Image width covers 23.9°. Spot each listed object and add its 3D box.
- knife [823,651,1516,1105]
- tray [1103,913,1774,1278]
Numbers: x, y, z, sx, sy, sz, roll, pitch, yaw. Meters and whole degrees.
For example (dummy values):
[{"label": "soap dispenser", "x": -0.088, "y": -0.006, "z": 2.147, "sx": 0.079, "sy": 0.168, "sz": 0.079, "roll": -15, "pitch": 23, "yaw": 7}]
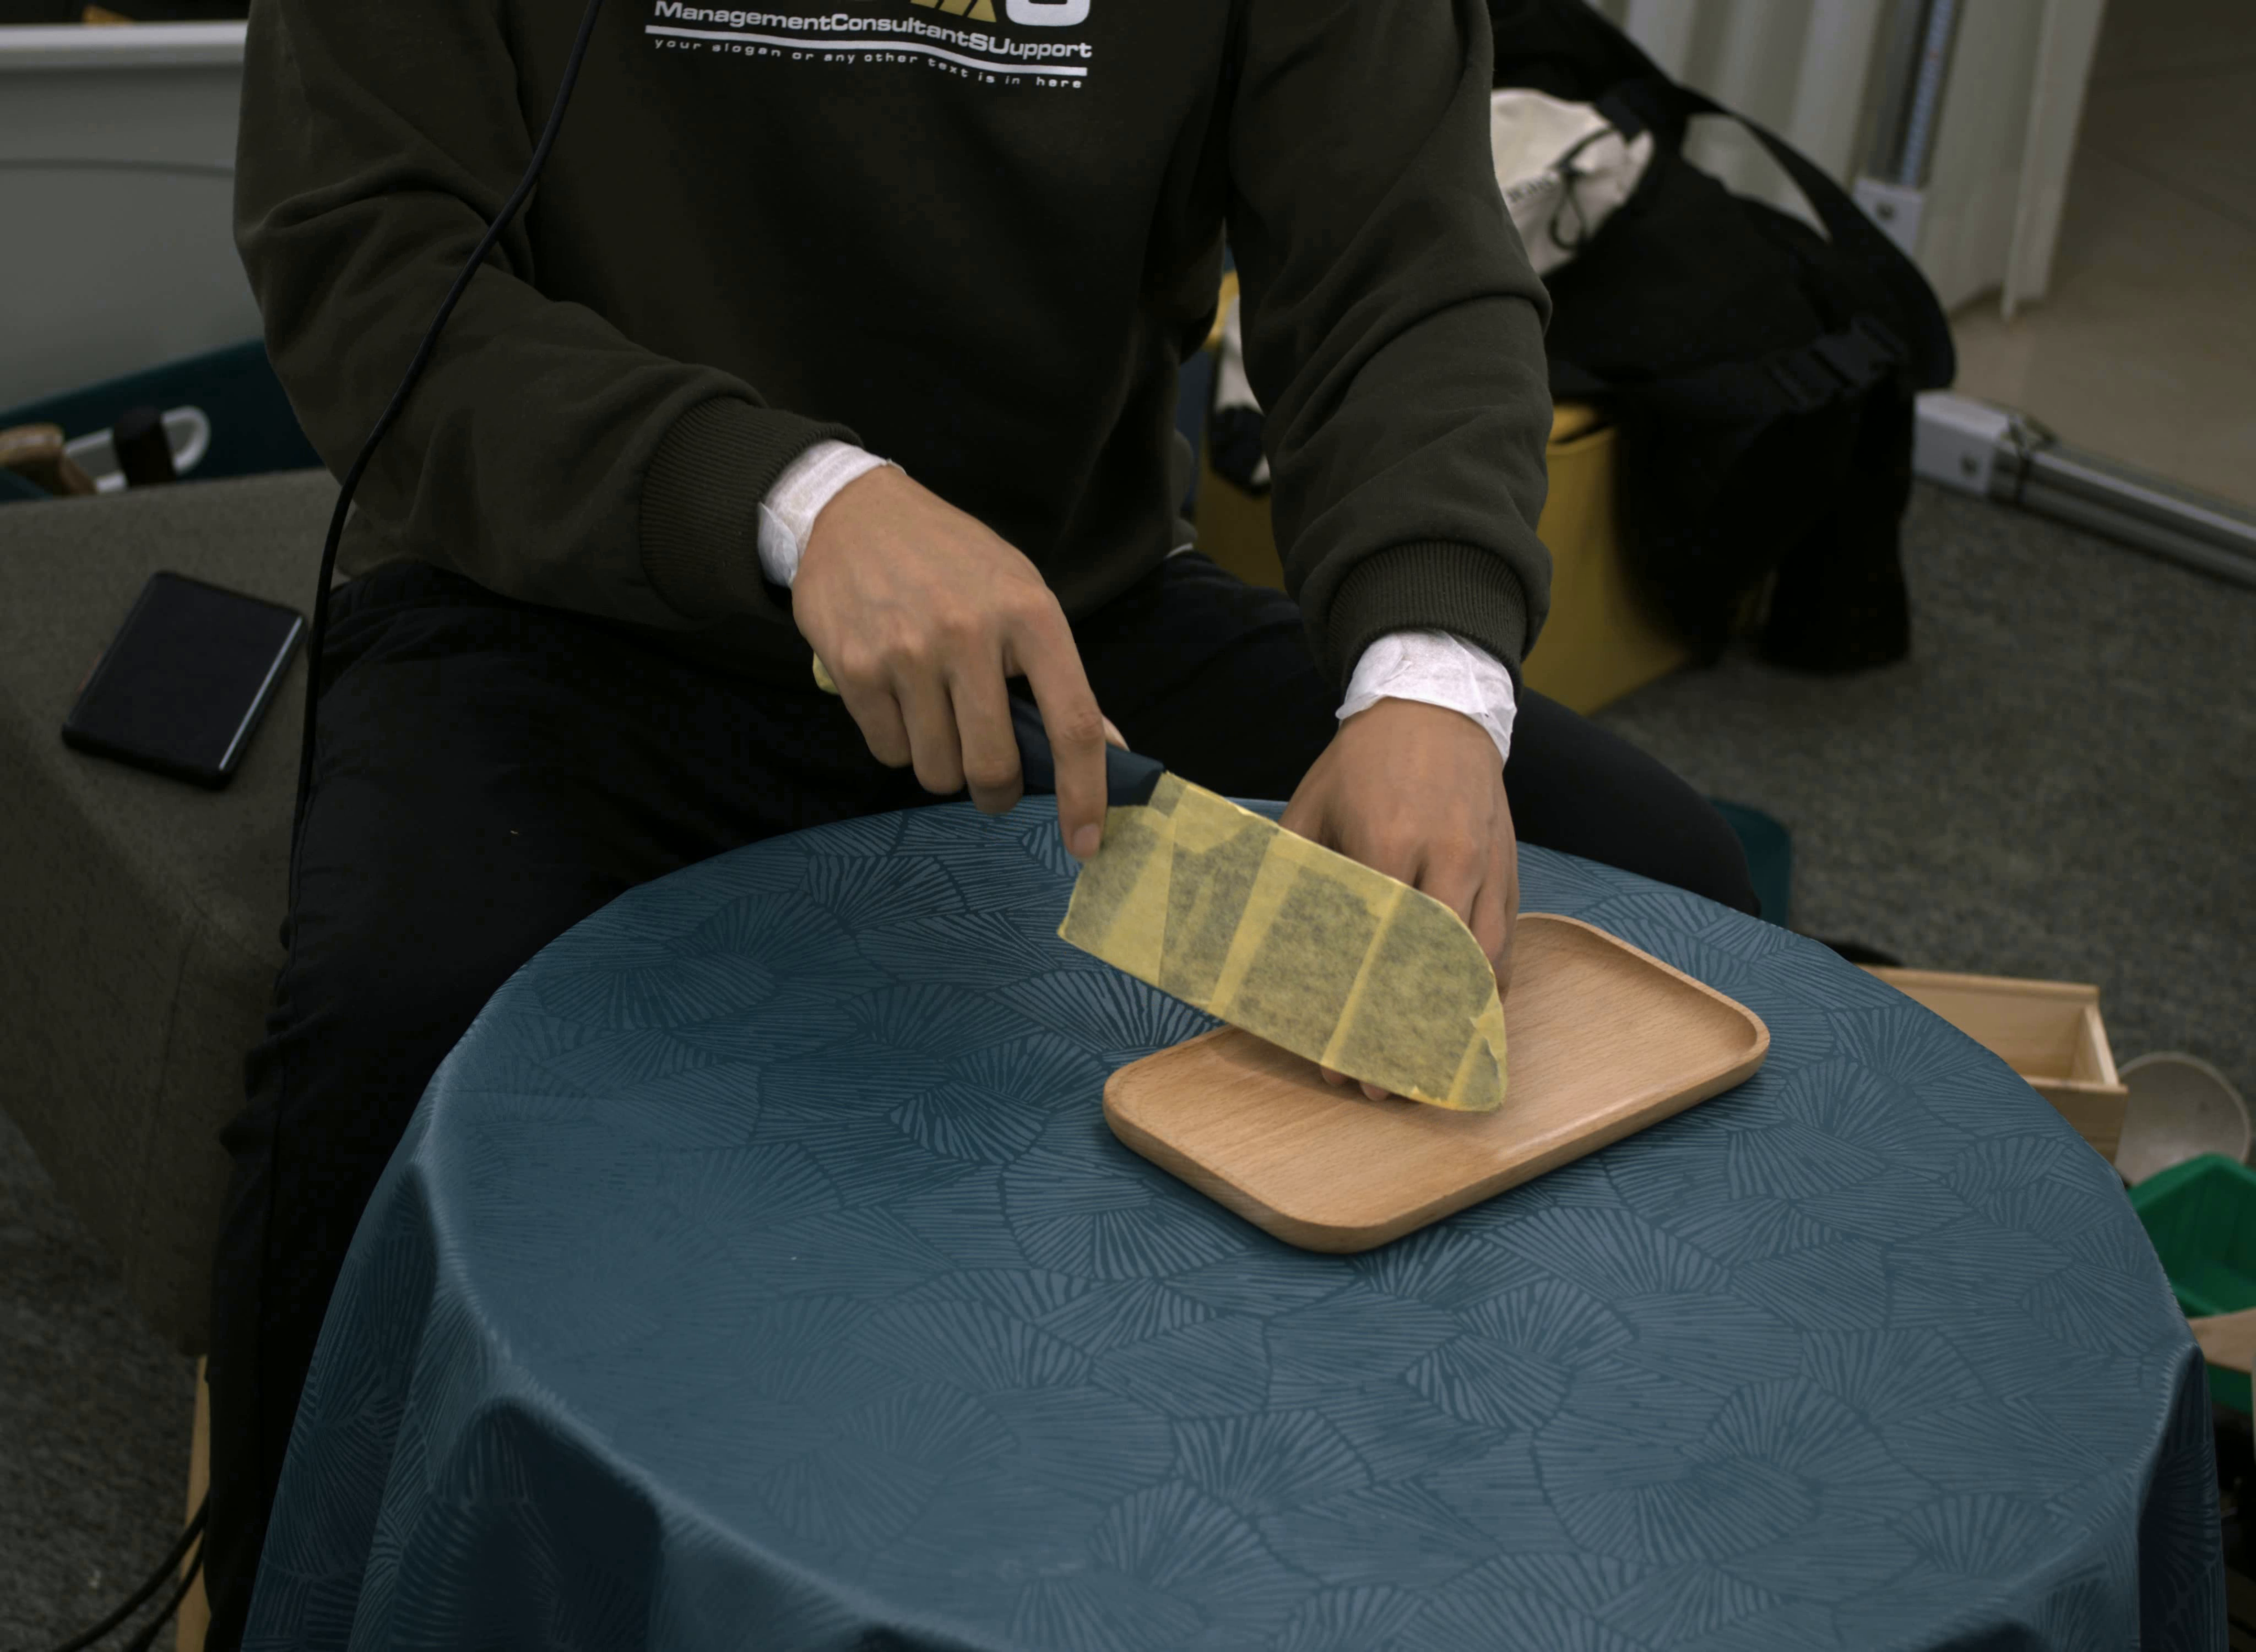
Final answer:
[{"label": "knife", "x": 0.011, "y": 0.017, "z": 1.874, "sx": 0.290, "sy": 0.081, "sz": 0.027, "roll": 29, "pitch": 13, "yaw": 16}, {"label": "tray", "x": 0.112, "y": 0.093, "z": 1.882, "sx": 0.249, "sy": 0.023, "sz": 0.131, "roll": -22, "pitch": 35, "yaw": -39}]
